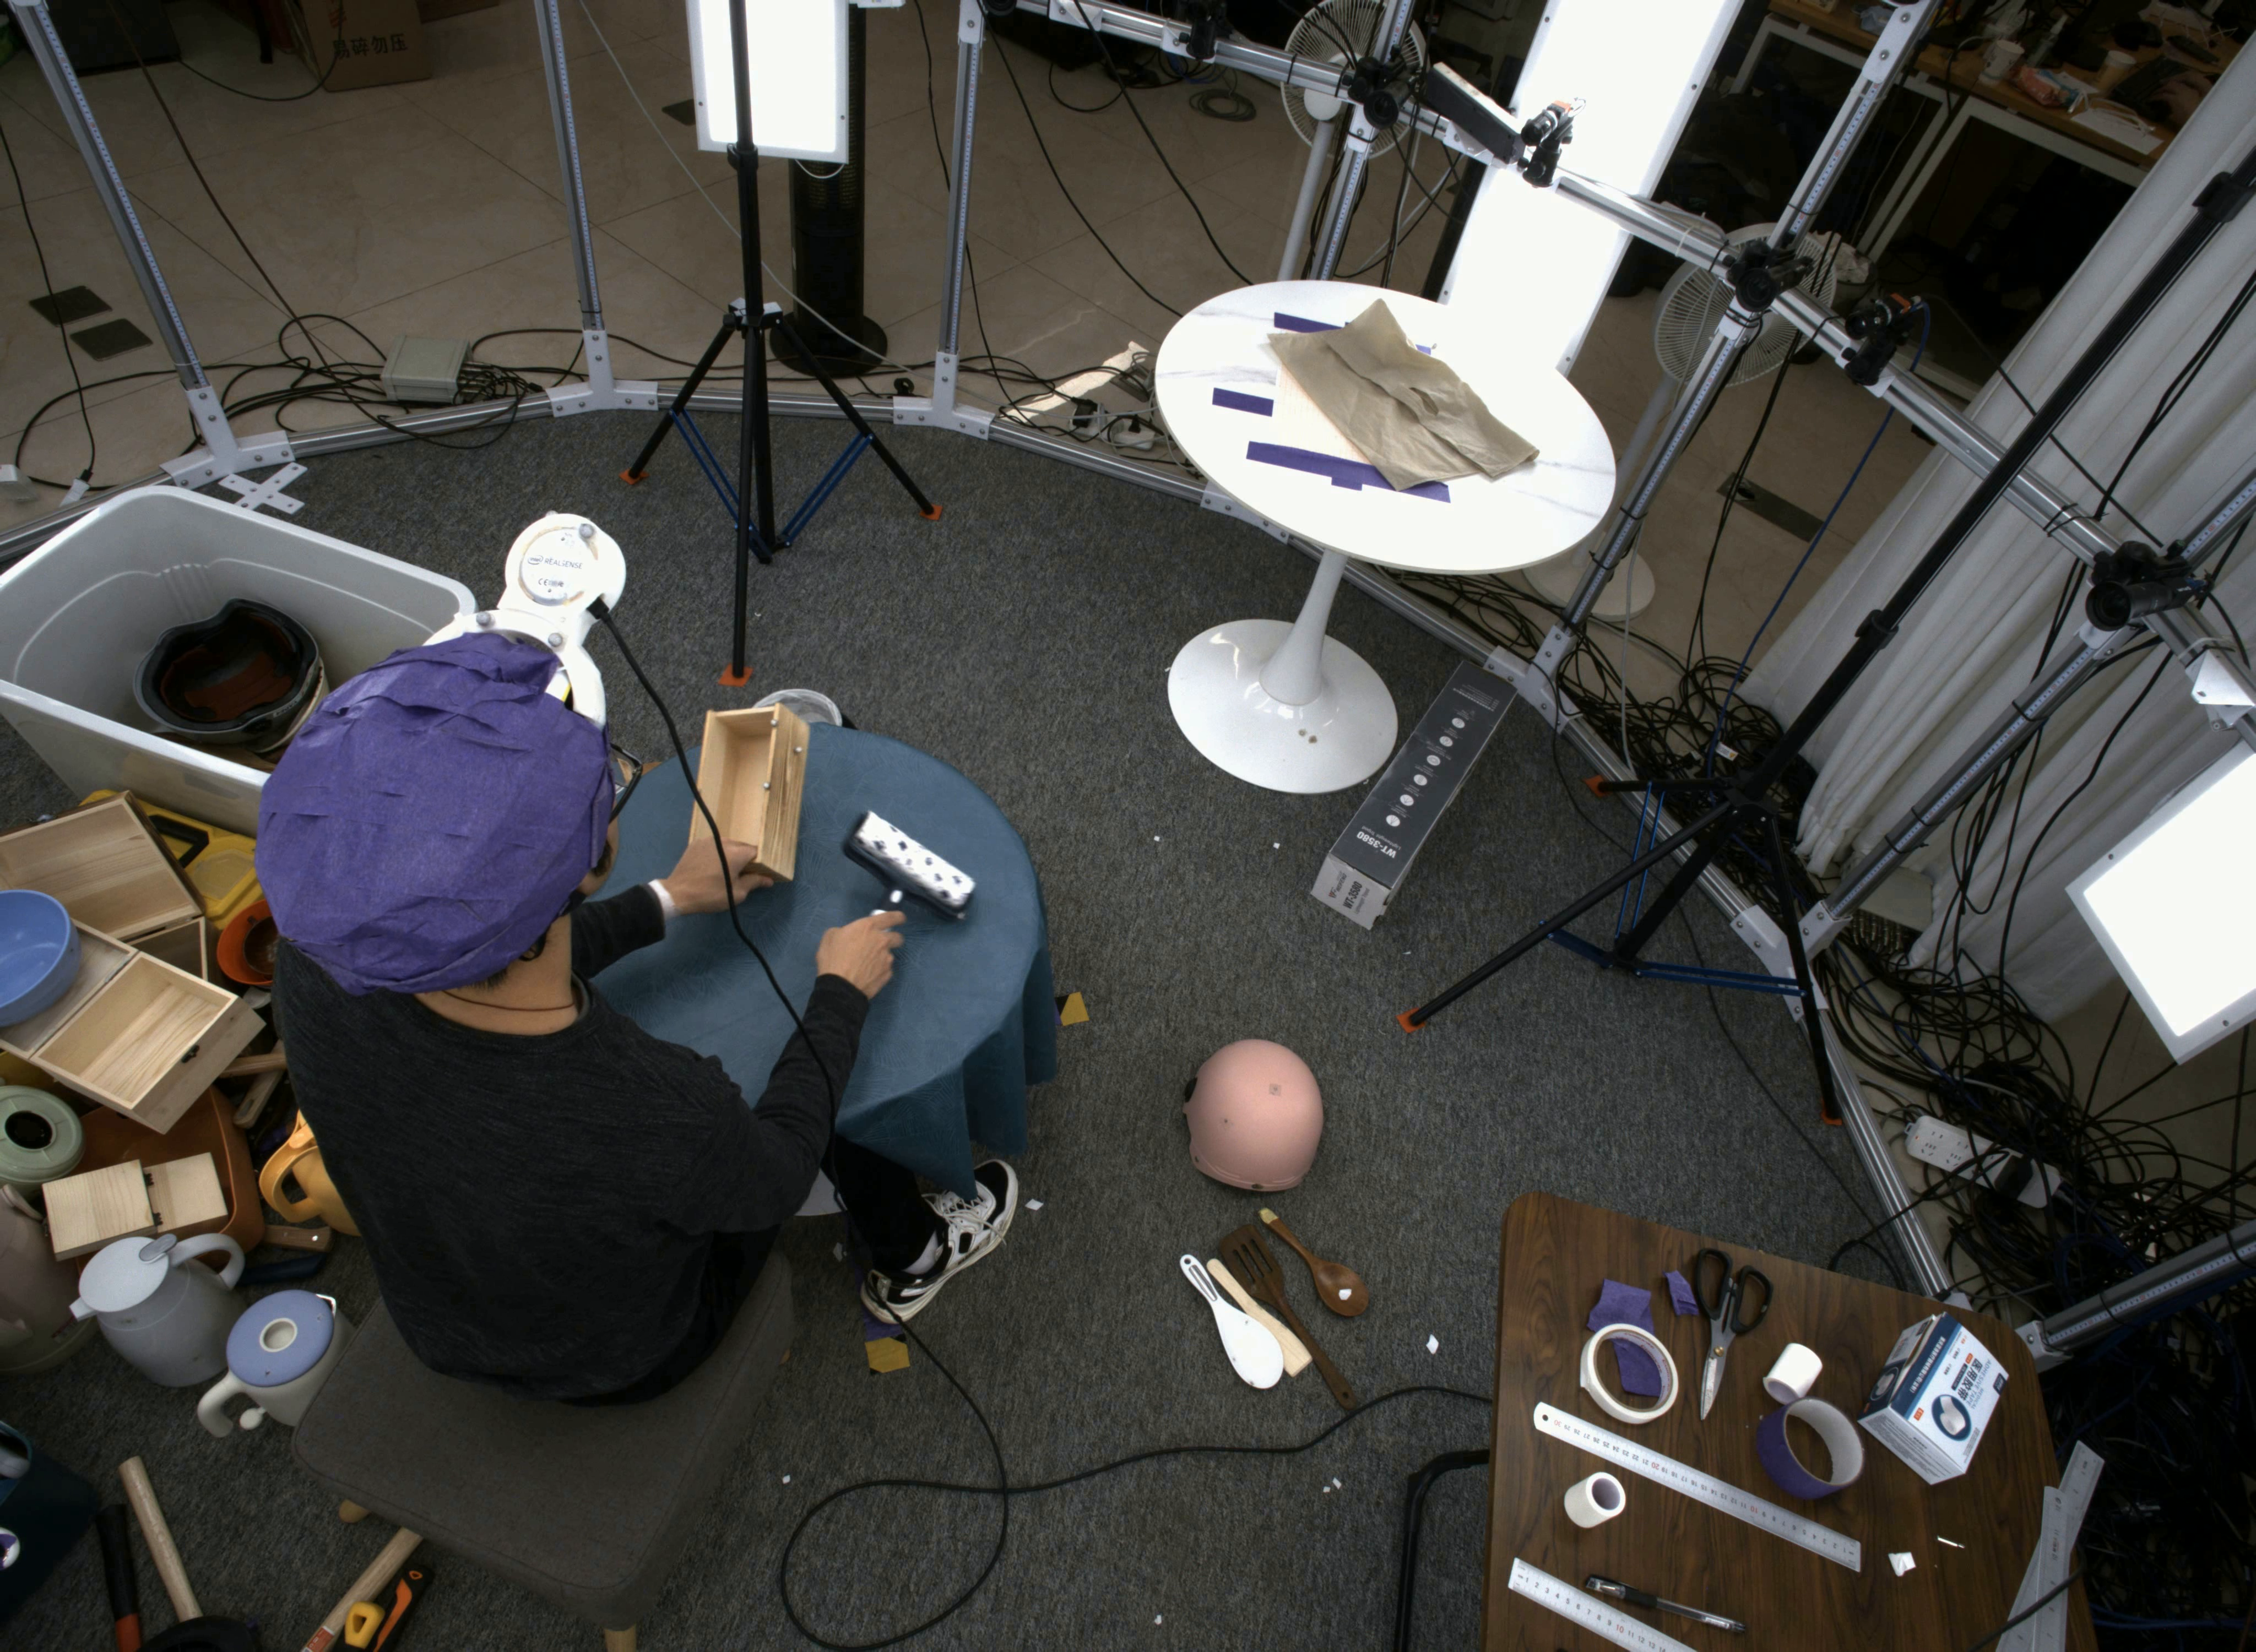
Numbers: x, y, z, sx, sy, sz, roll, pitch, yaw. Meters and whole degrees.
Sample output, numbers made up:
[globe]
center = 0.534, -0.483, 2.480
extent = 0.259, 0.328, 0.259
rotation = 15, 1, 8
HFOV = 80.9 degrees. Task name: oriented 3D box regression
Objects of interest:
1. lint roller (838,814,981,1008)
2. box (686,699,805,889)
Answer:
[lint roller]
center = -0.294, 0.116, 1.594
extent = 0.179, 0.050, 0.244
rotation = 35, 47, -17
[box]
center = -0.477, -0.040, 1.618
extent = 0.105, 0.082, 0.210
rotation = -5, 71, 12
